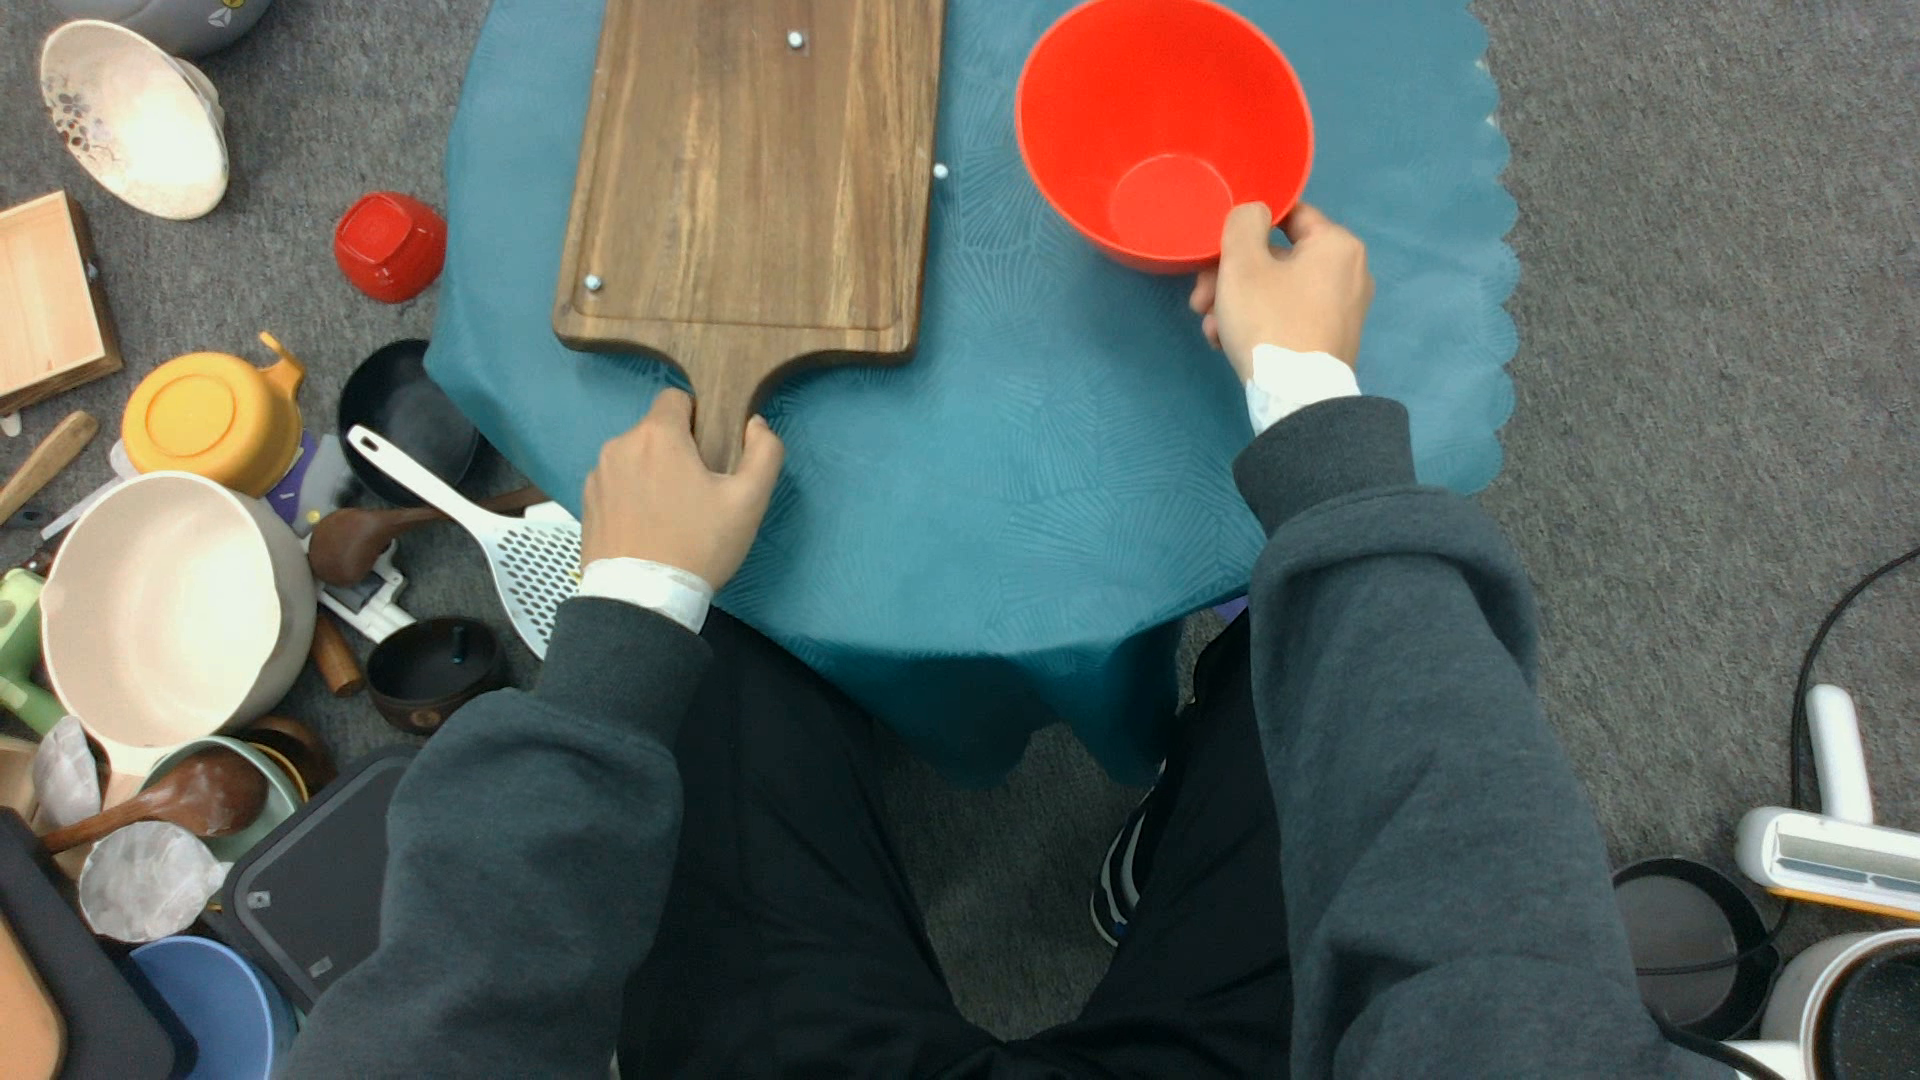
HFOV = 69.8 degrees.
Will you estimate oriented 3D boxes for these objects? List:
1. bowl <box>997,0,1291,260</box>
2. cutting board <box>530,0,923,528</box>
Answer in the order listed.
[{"bbox_3d":[0.094,-0.204,0.721,0.148,0.104,0.148,0,76,2],"label":"bowl"},{"bbox_3d":[-0.128,-0.177,0.753,0.201,0.023,0.353,3,73,2],"label":"cutting board"}]
